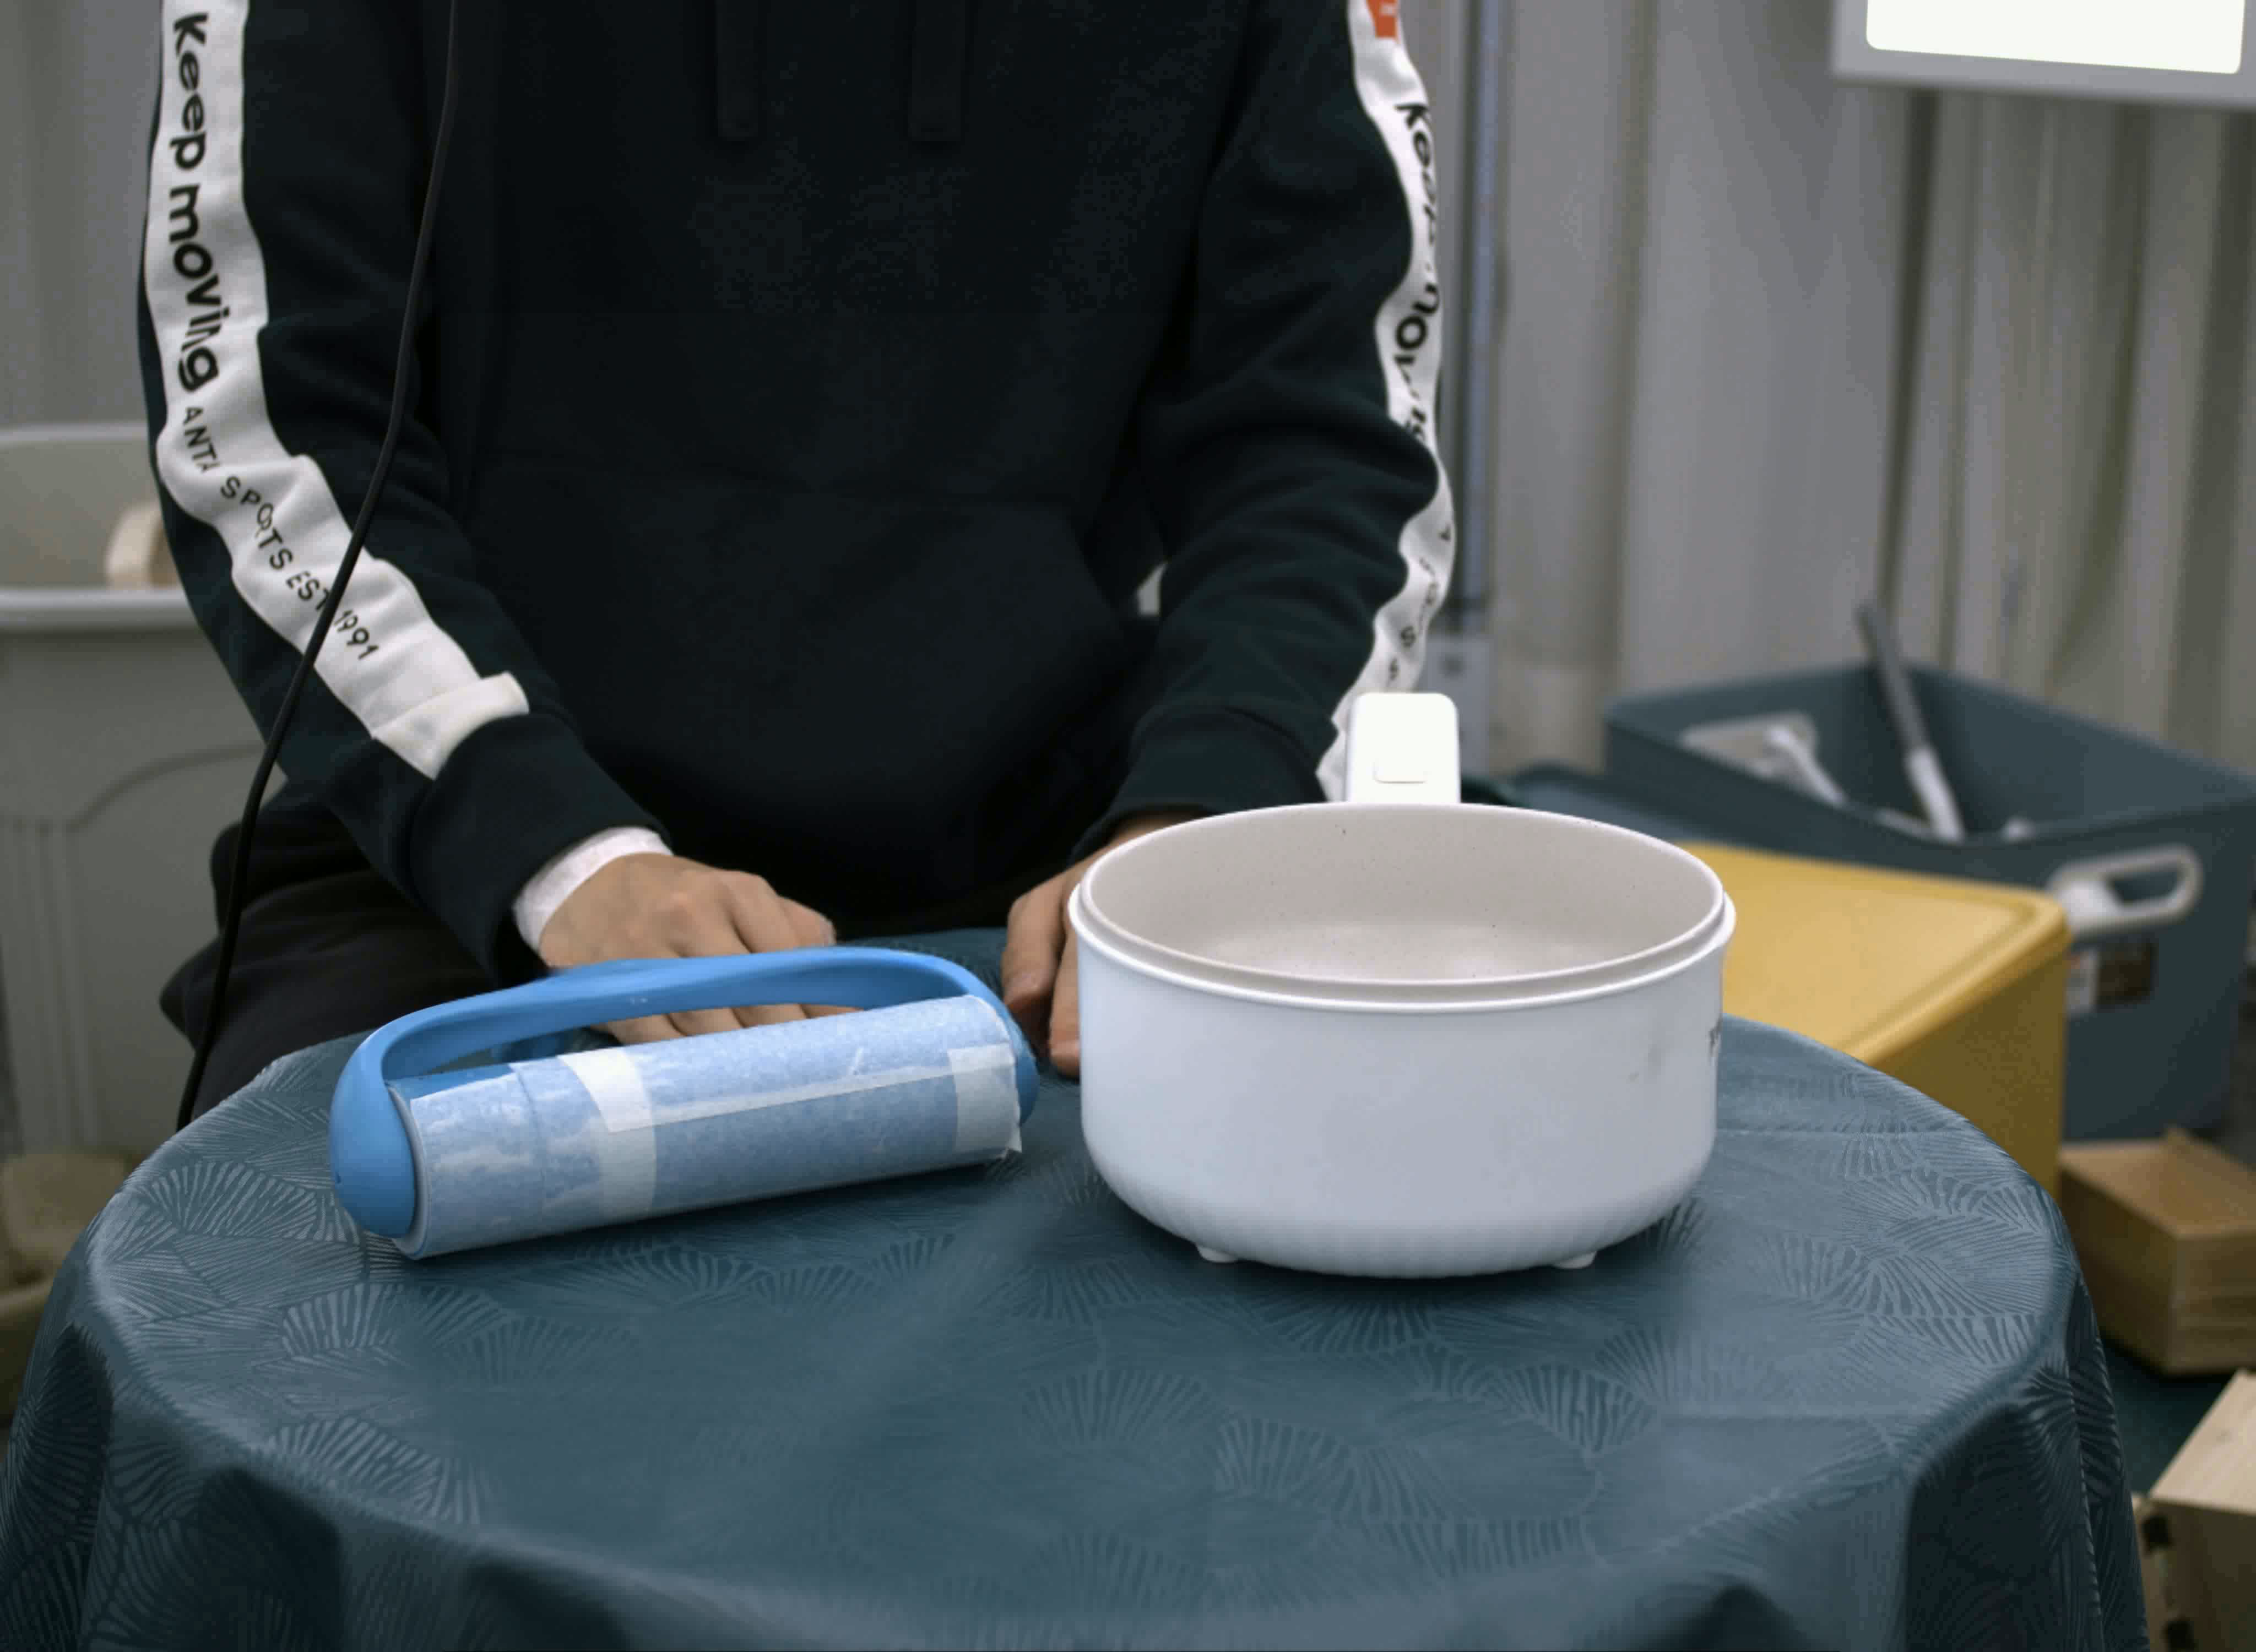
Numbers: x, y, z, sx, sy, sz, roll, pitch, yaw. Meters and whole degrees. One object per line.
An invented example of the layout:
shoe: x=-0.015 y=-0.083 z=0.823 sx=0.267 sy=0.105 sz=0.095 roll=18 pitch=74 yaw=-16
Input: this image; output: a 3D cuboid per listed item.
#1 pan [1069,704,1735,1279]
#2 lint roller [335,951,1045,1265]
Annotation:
pan: x=0.087 y=0.048 z=1.672 sx=0.200 sy=0.103 sz=0.353 roll=0 pitch=15 yaw=3
lint roller: x=-0.159 y=0.075 z=1.643 sx=0.230 sy=0.068 sz=0.178 roll=-10 pitch=20 yaw=-29
